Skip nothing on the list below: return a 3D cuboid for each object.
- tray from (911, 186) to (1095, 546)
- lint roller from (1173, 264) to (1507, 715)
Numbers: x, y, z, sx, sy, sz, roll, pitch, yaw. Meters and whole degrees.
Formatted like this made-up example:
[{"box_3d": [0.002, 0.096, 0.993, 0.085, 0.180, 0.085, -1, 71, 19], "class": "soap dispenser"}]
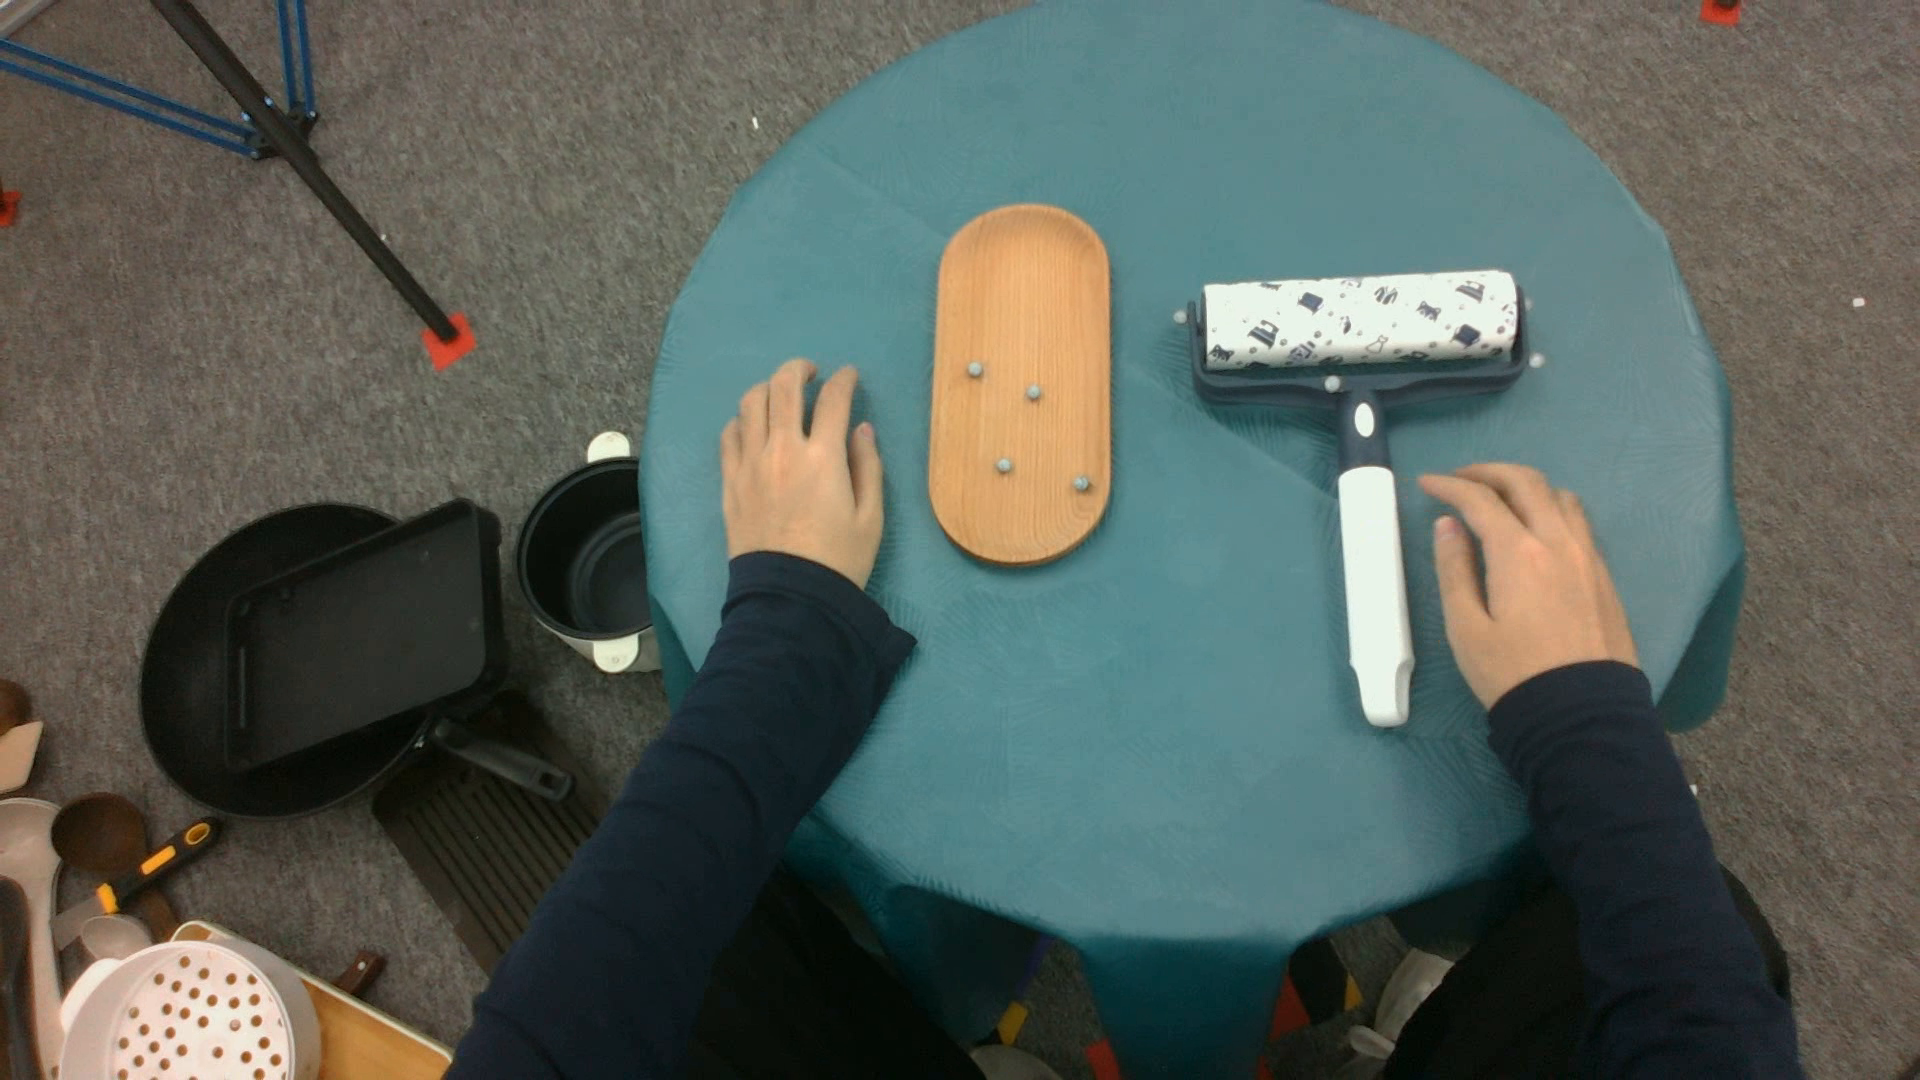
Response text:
[{"box_3d": [0.024, -0.103, 0.784, 0.101, 0.020, 0.232, -1, 66, 4], "class": "tray"}, {"box_3d": [0.206, -0.033, 0.723, 0.176, 0.050, 0.248, -1, 69, 4], "class": "lint roller"}]
